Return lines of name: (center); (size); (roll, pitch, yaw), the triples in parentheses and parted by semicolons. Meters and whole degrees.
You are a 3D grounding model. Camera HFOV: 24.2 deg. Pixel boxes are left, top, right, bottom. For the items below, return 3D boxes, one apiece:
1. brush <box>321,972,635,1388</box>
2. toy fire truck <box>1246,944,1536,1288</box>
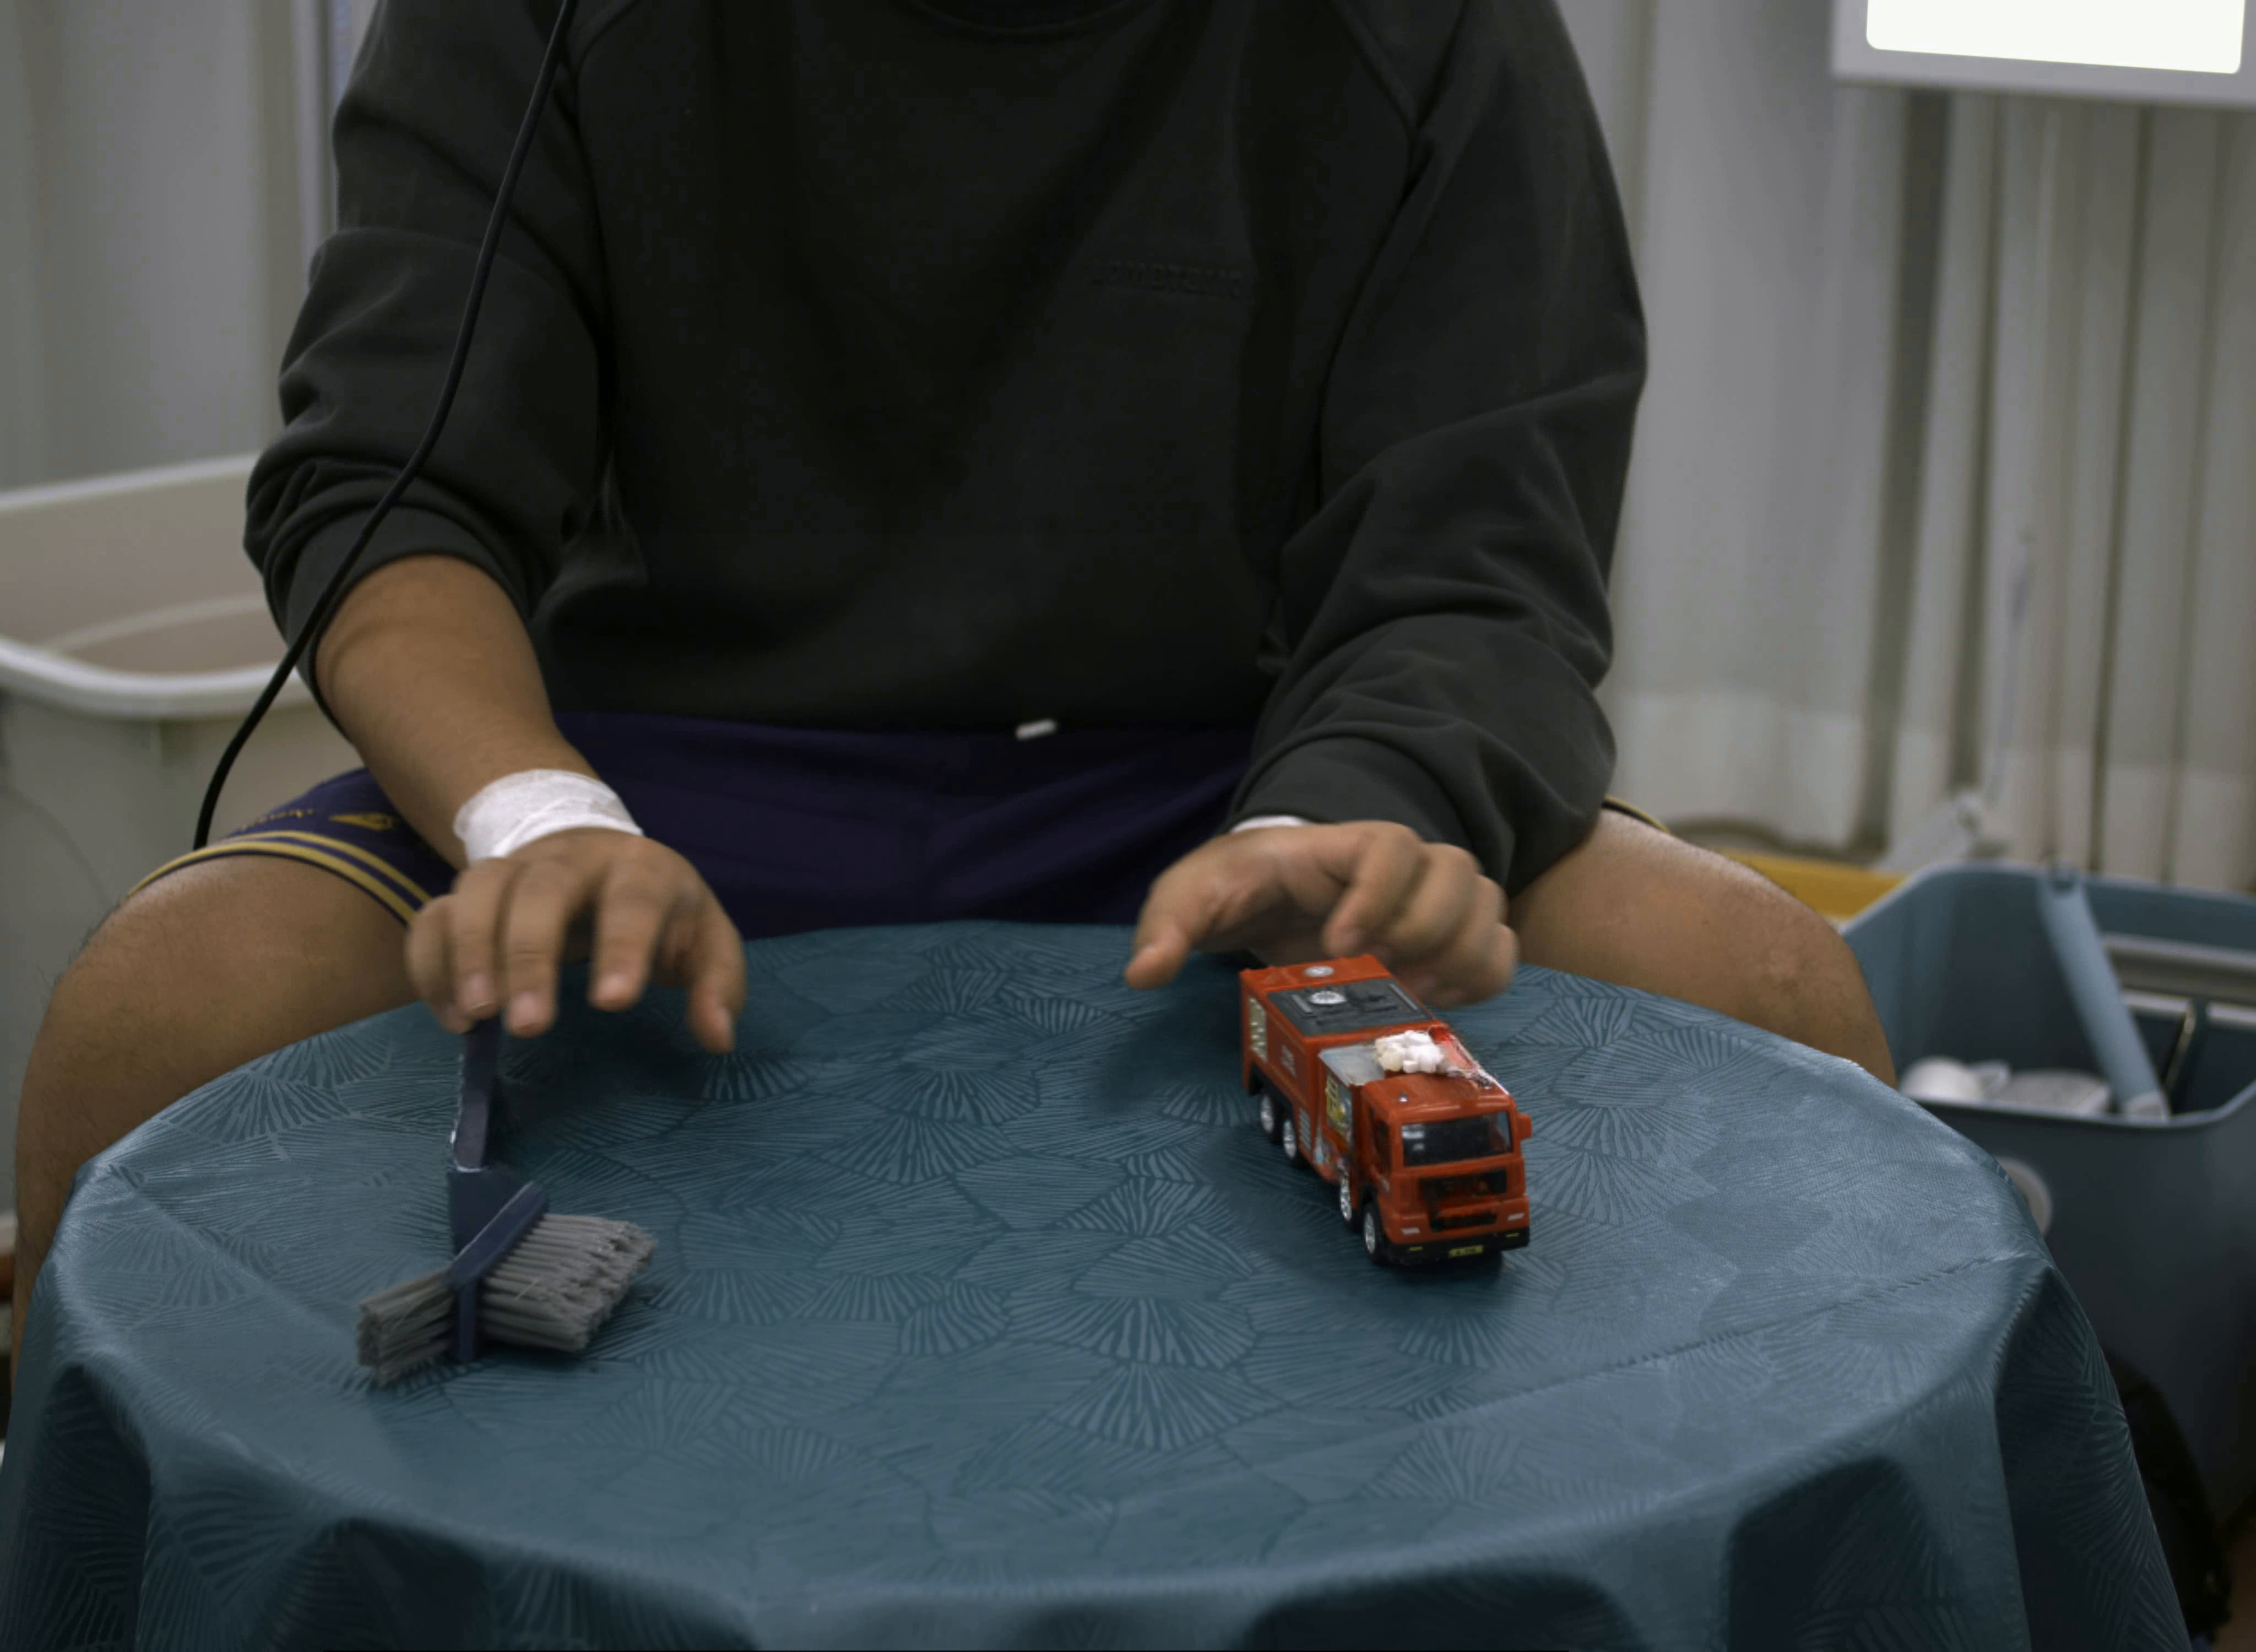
brush: (-0.207, 0.103, 1.588); (0.096, 0.034, 0.270); (-3, 17, -13)
toy fire truck: (0.079, 0.085, 1.610); (0.054, 0.071, 0.166); (-7, 16, -13)
